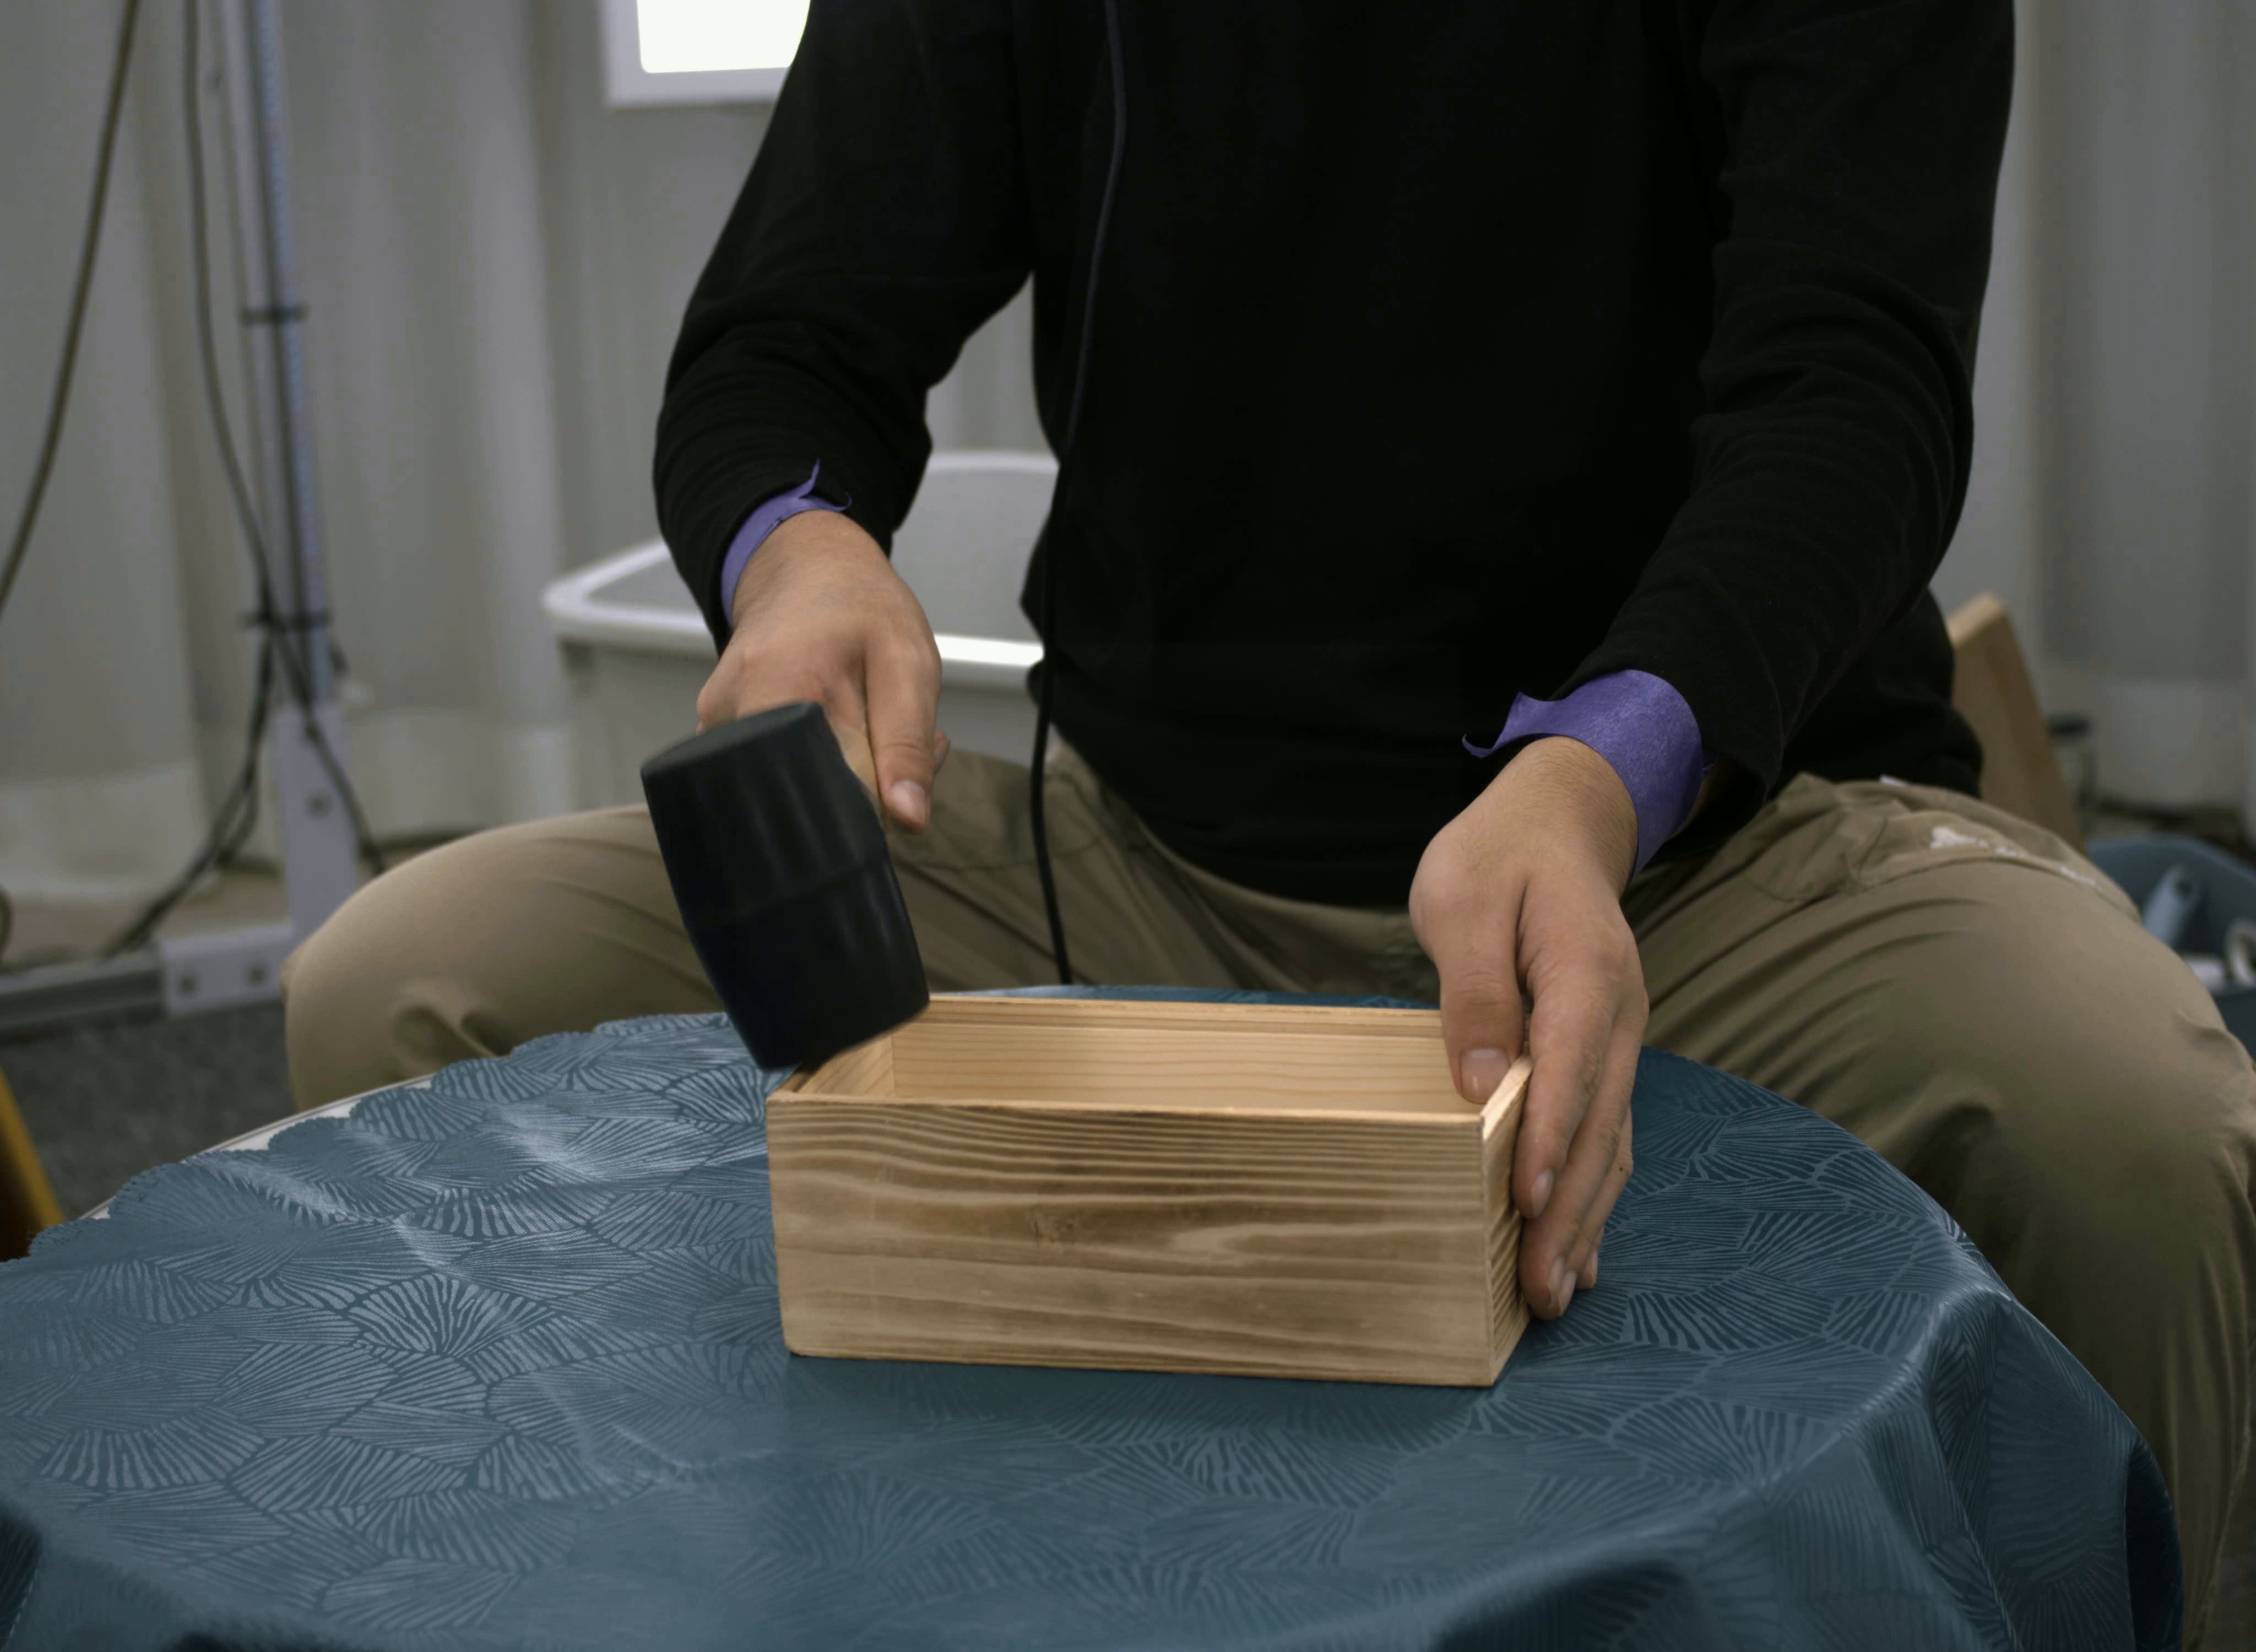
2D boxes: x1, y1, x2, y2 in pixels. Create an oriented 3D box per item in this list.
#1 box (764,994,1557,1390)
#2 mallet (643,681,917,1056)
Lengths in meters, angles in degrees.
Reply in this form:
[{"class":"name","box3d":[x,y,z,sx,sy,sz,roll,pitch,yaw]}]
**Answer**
[{"class":"box","box3d":[0.011,0.105,1.596,0.211,0.080,0.108,1,14,16]},{"class":"mallet","box3d":[-0.088,-0.012,1.738,0.064,0.102,0.340,-15,8,8]}]
